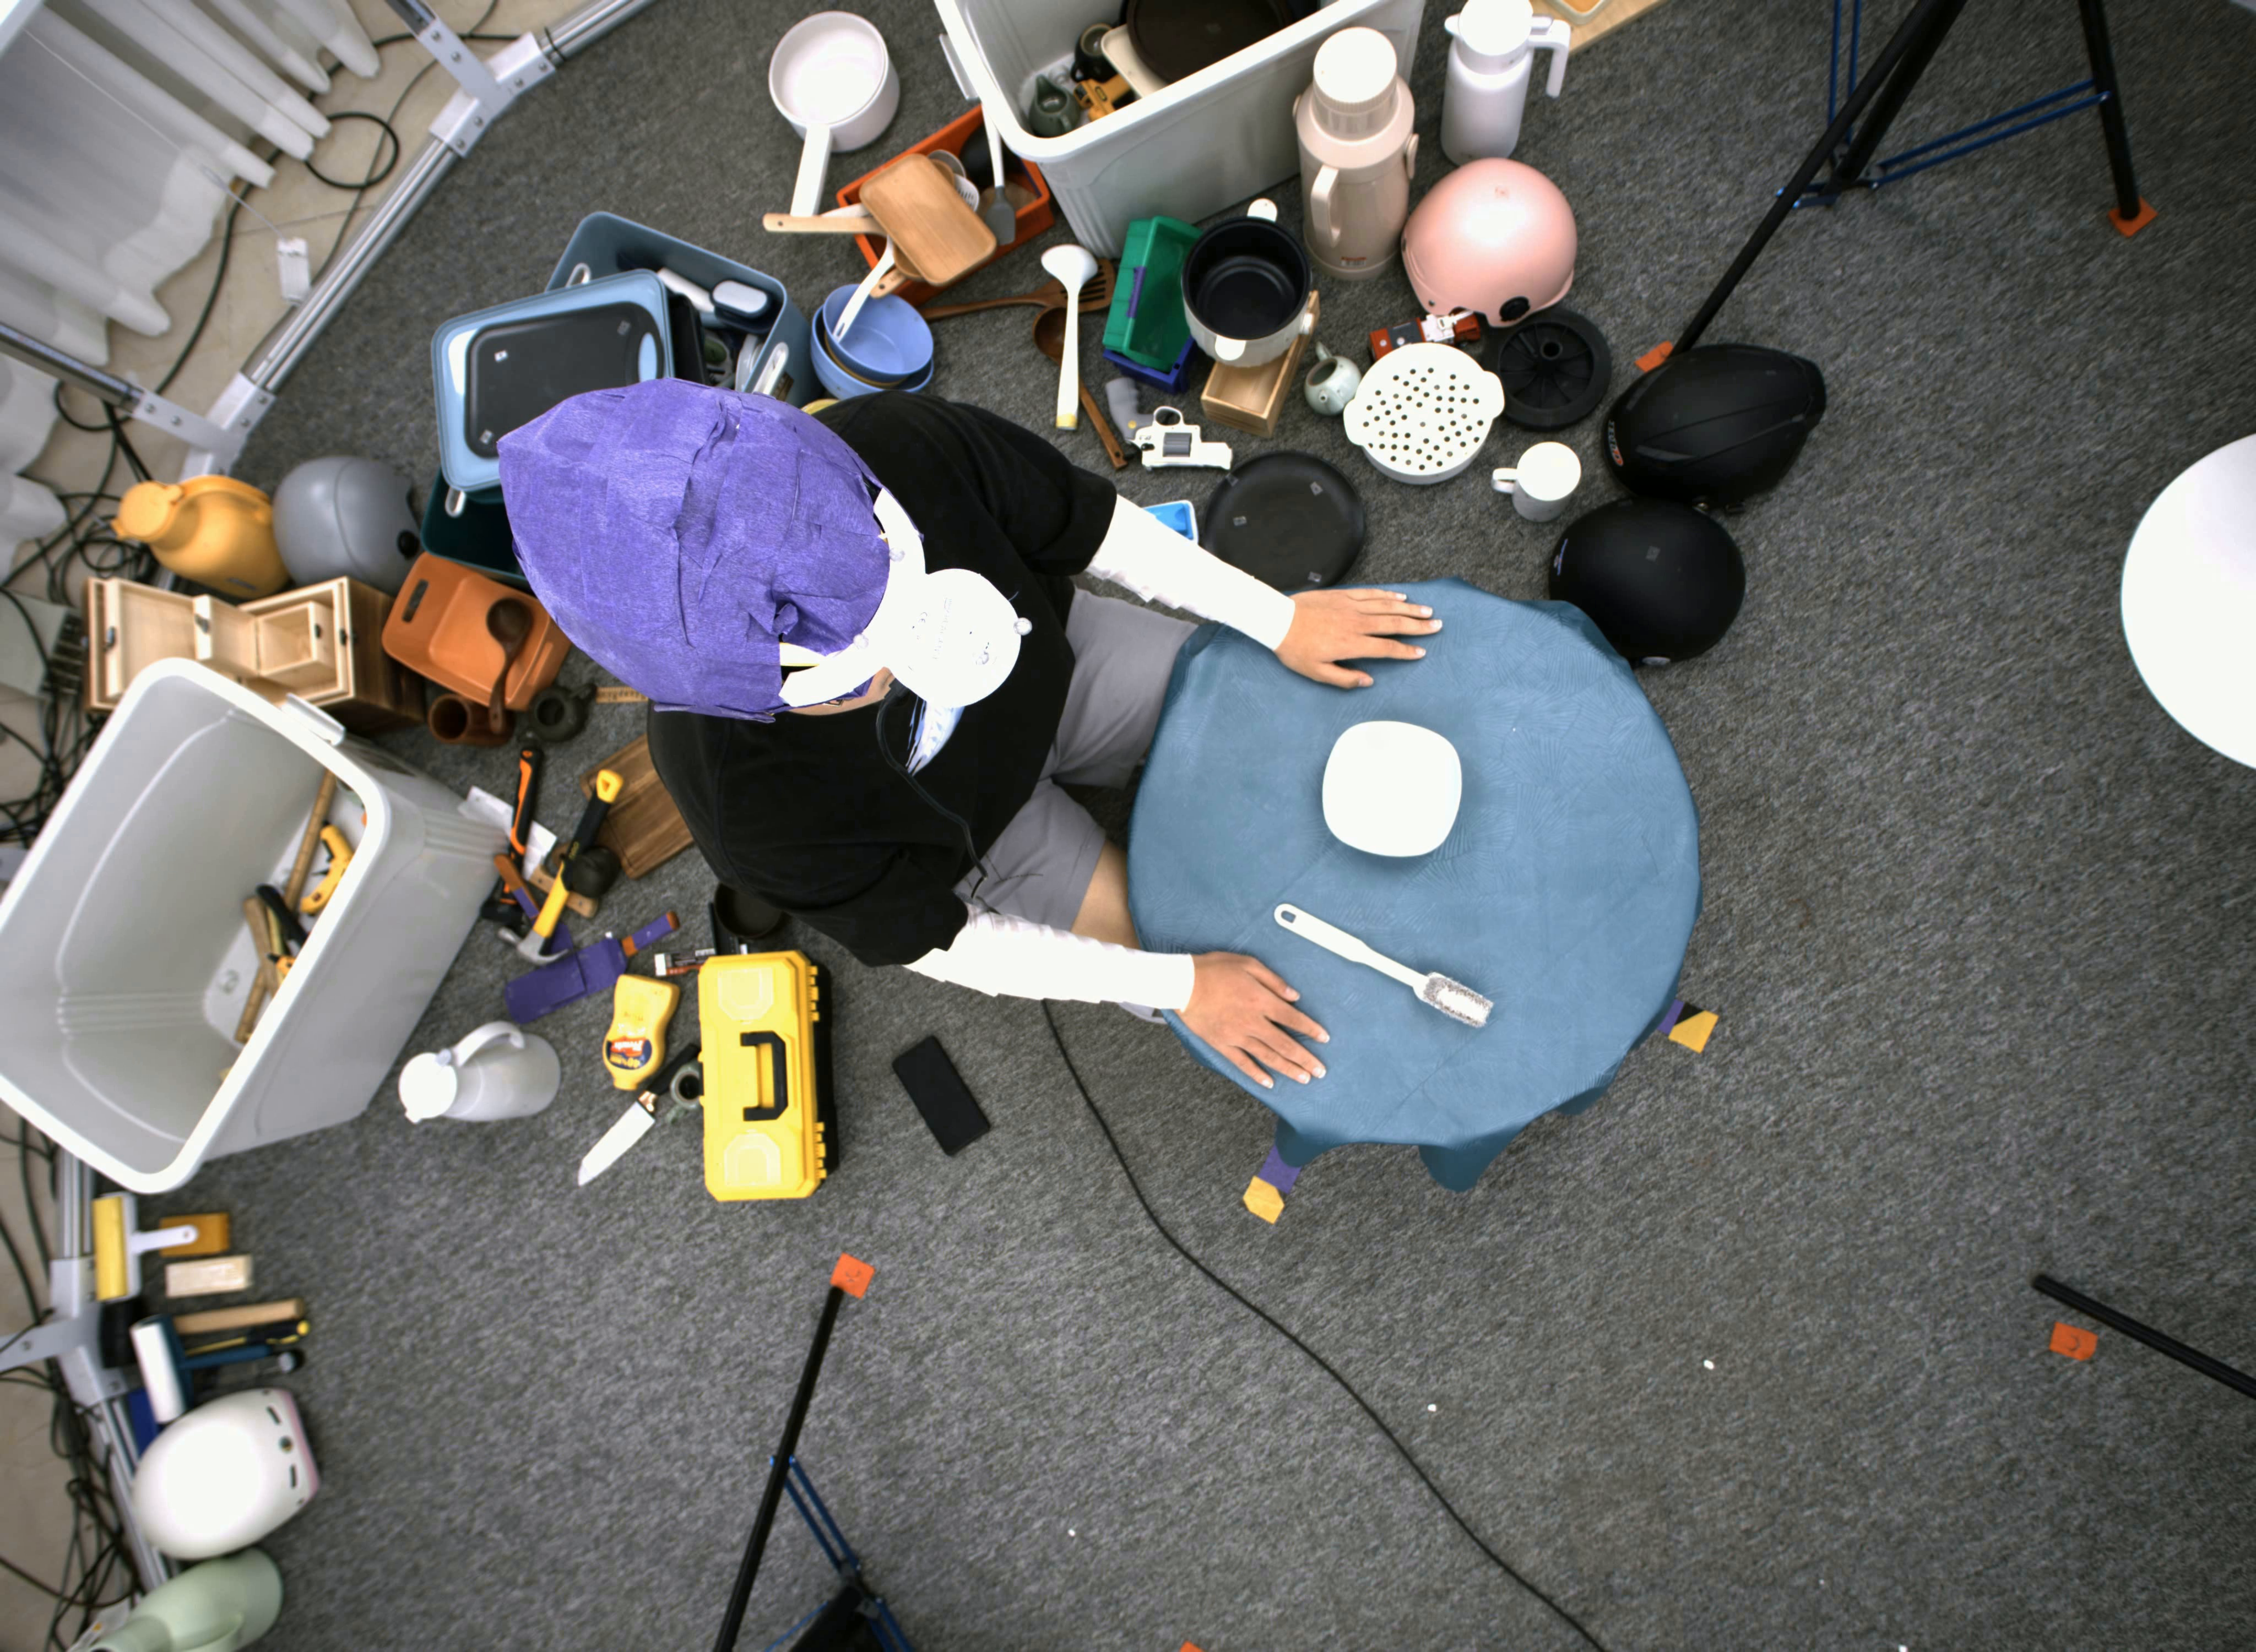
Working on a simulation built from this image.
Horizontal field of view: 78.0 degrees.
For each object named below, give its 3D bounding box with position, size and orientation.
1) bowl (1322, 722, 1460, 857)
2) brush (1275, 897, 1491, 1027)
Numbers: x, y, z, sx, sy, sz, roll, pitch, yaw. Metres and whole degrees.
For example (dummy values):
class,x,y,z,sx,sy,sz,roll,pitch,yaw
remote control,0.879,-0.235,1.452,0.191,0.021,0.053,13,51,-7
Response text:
class,x,y,z,sx,sy,sz,roll,pitch,yaw
bowl,0.273,-0.036,1.435,0.152,0.059,0.150,-1,85,10
brush,0.260,0.136,1.431,0.243,0.050,0.034,29,91,10
